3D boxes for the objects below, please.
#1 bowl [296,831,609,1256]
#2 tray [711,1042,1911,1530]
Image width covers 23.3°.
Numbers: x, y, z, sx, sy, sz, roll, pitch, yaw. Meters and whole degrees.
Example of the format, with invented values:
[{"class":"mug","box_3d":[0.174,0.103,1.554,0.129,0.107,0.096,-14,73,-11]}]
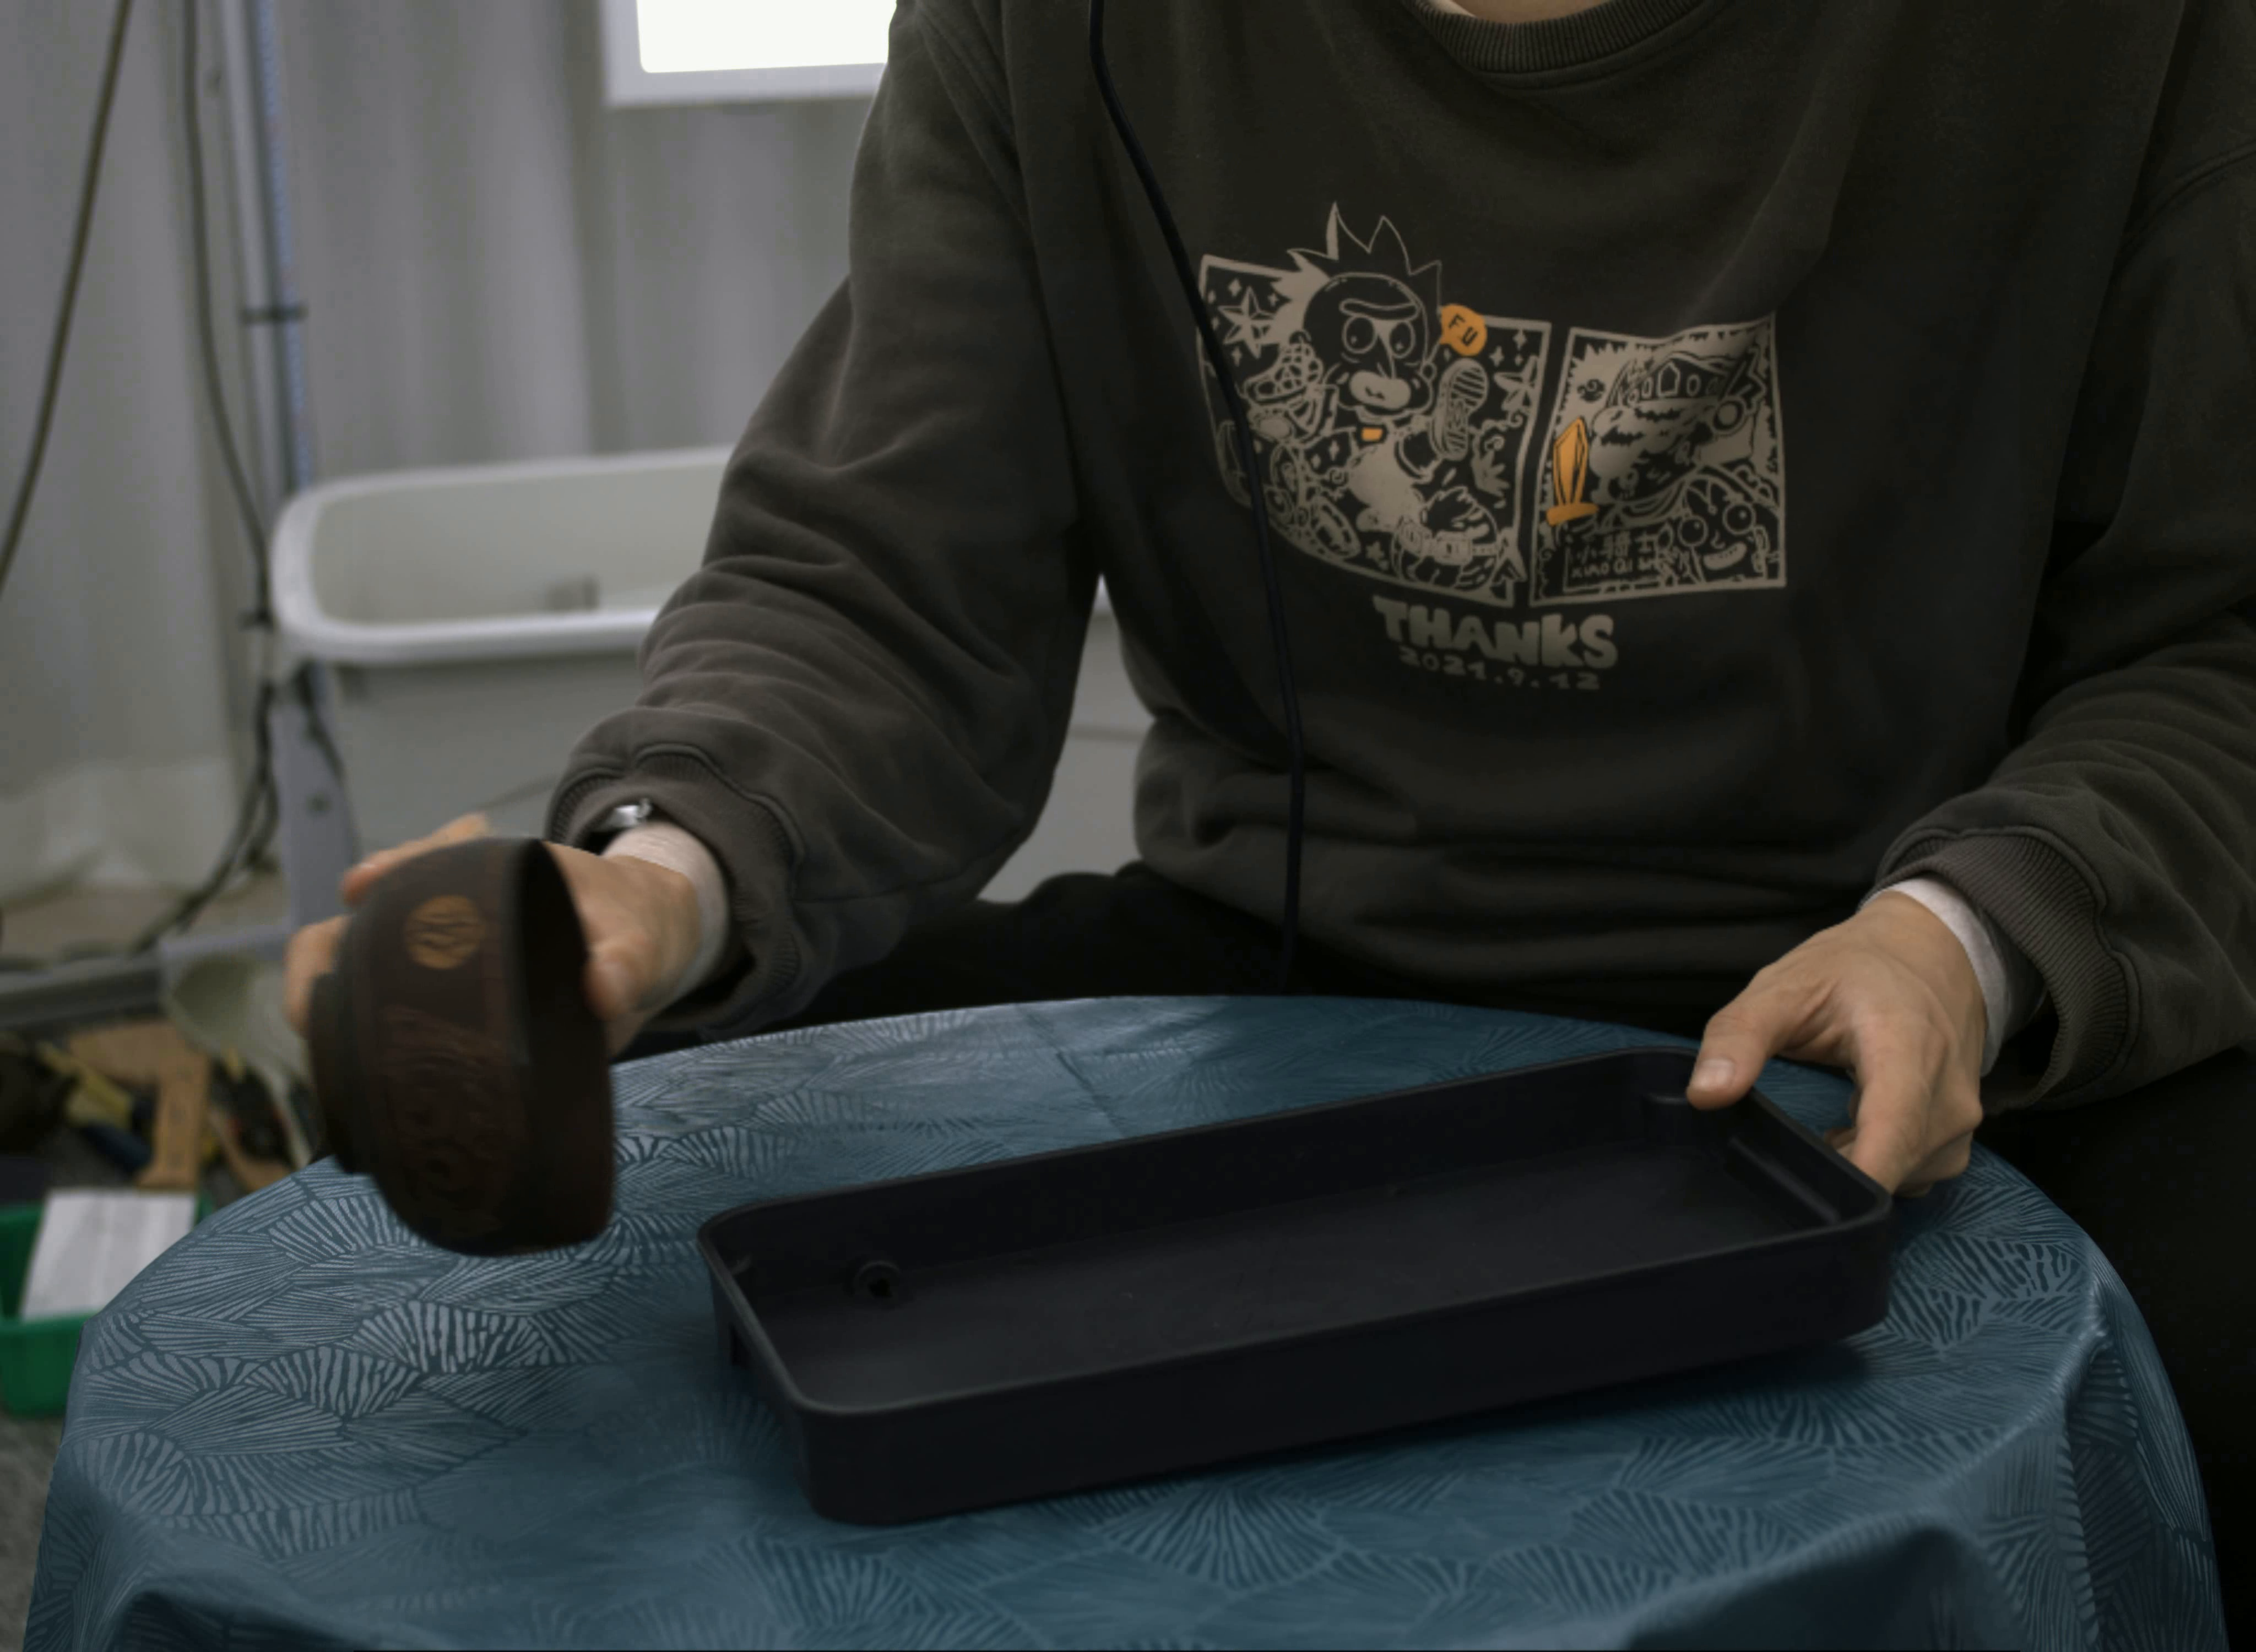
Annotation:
[{"class":"bowl","box_3d":[-0.193,0.064,1.542,0.069,0.117,0.119,-9,14,5]},{"class":"tray","box_3d":[0.050,0.128,1.571,0.317,0.037,0.186,-10,16,-14]}]
